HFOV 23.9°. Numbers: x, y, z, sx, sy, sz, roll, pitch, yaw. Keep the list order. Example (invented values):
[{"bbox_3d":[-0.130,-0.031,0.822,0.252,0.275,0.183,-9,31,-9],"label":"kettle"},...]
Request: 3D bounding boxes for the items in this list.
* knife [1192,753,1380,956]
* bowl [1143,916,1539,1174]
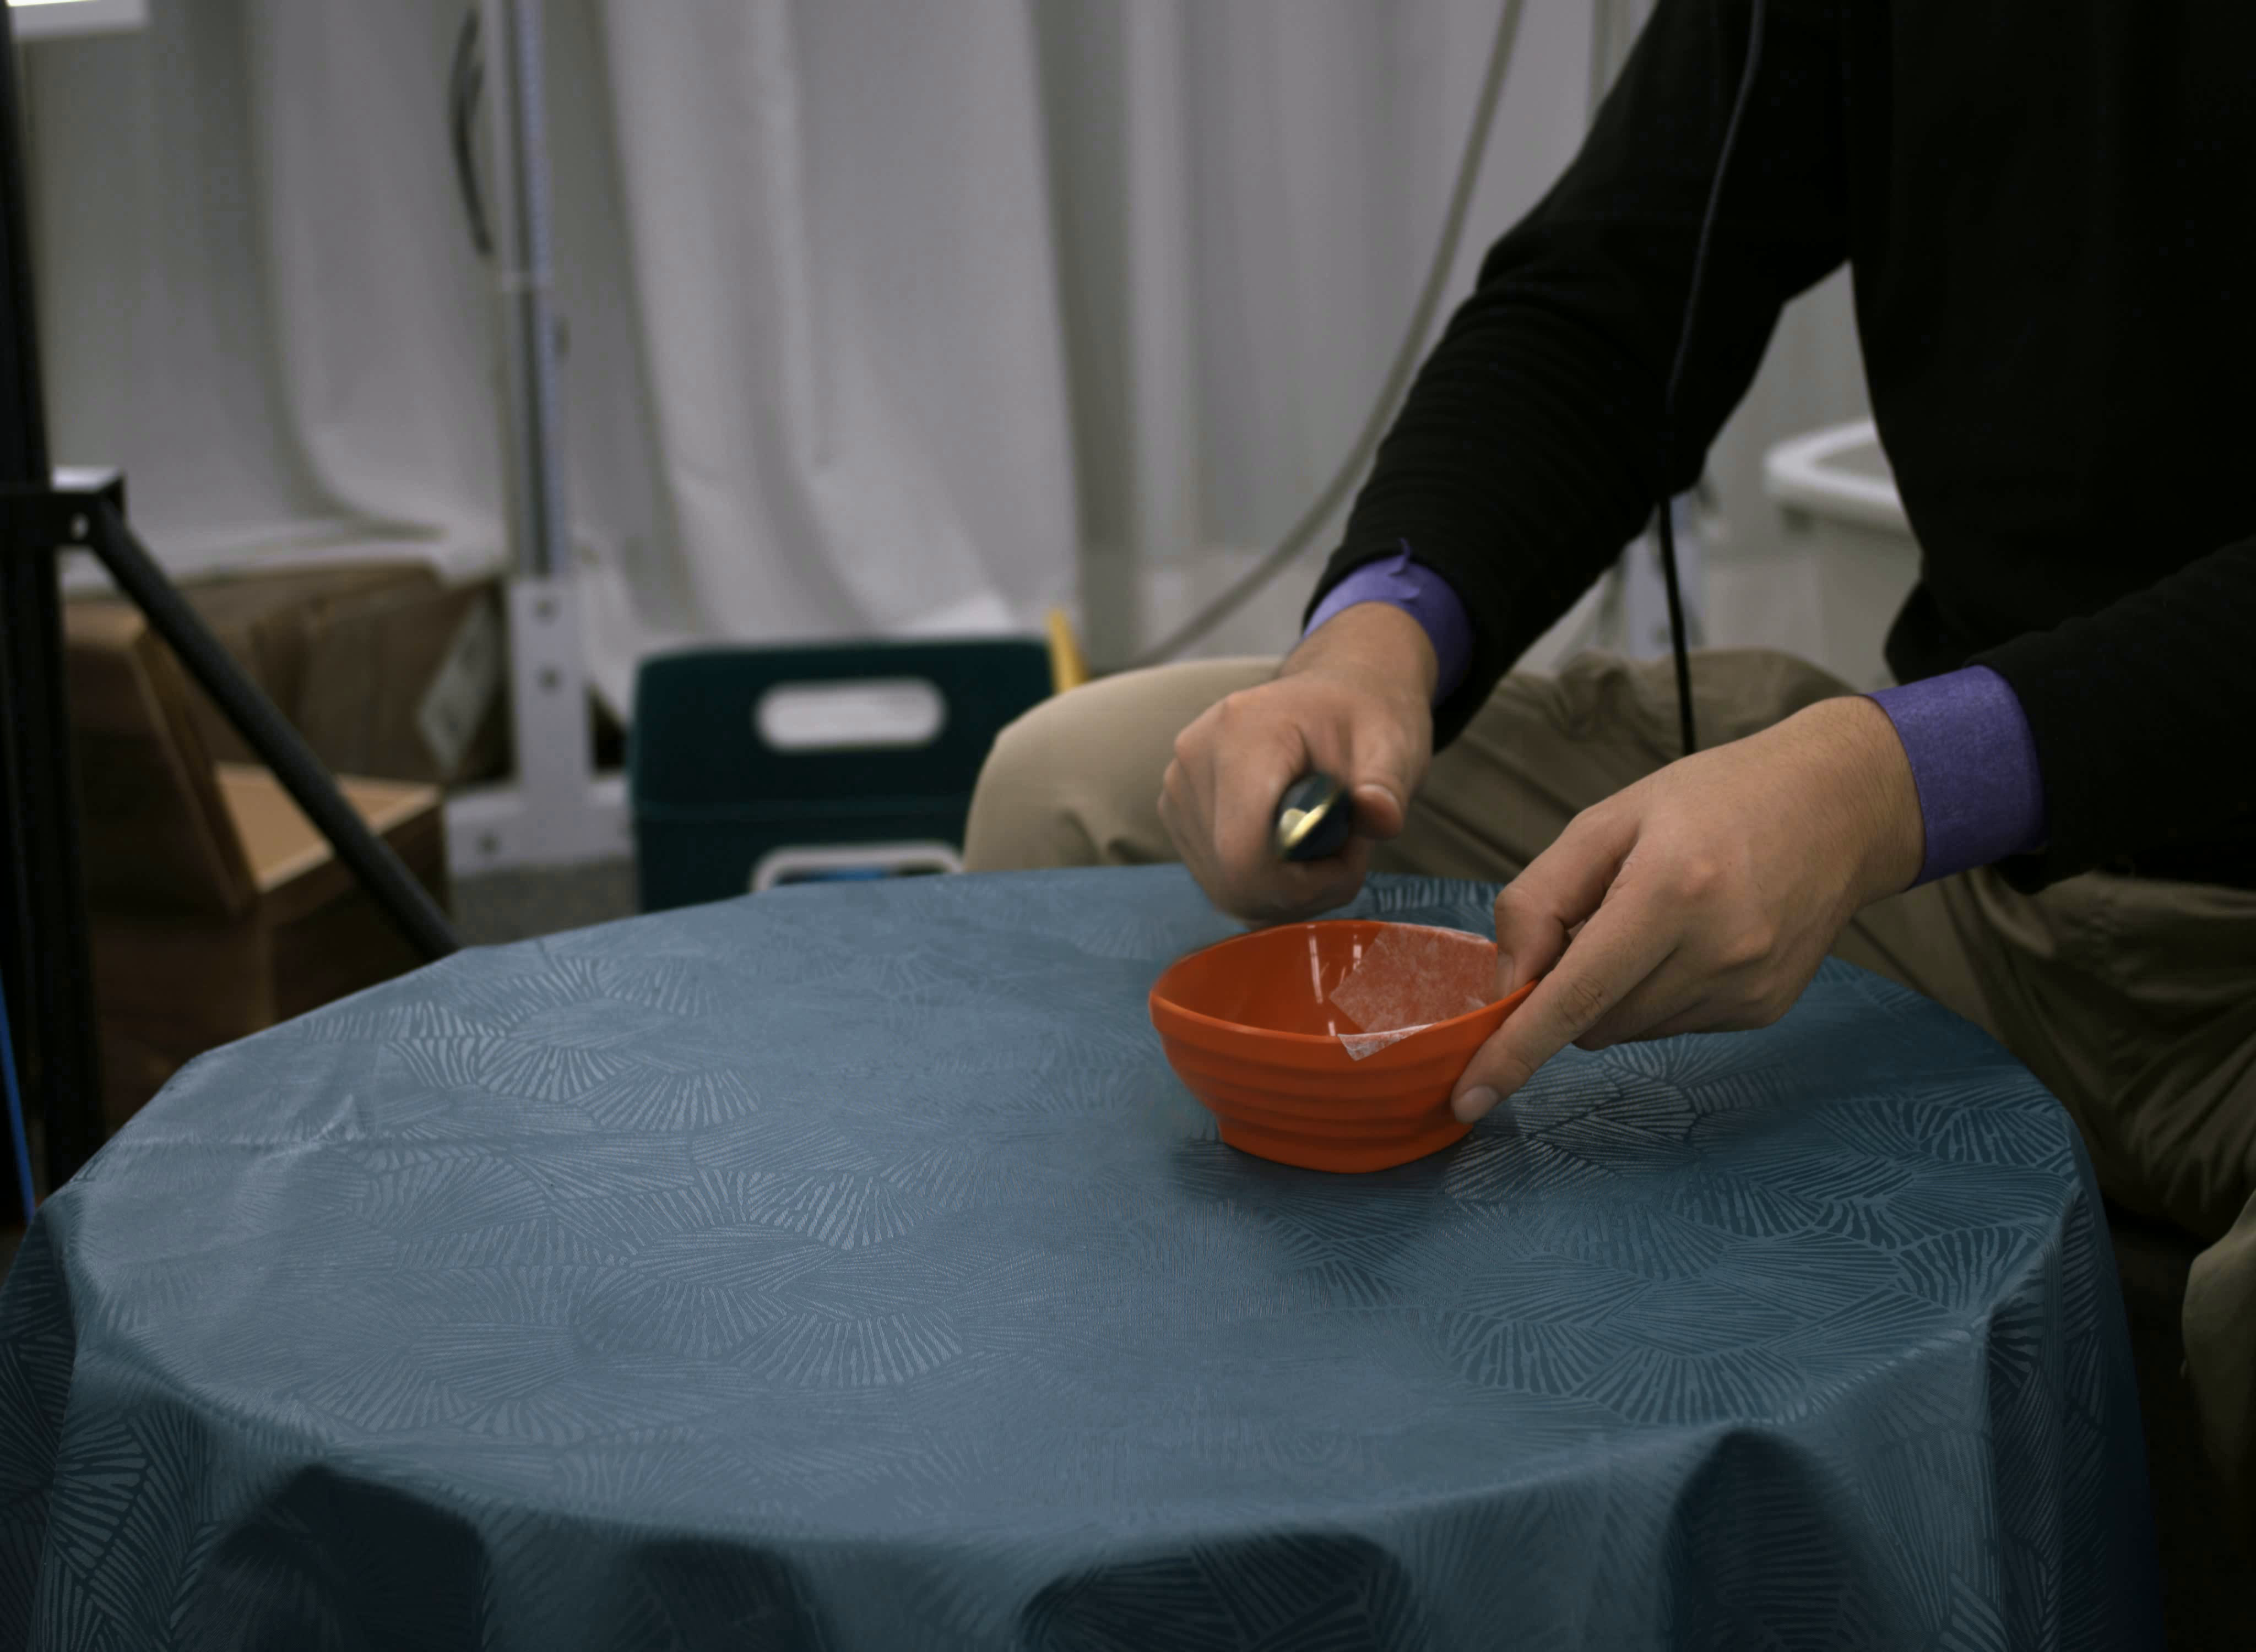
[{"bbox_3d":[0.049,0.012,1.653,0.081,0.027,0.288,-45,-3,0],"label":"knife"},{"bbox_3d":[0.065,0.068,1.589,0.118,0.051,0.119,-4,15,0],"label":"bowl"}]
